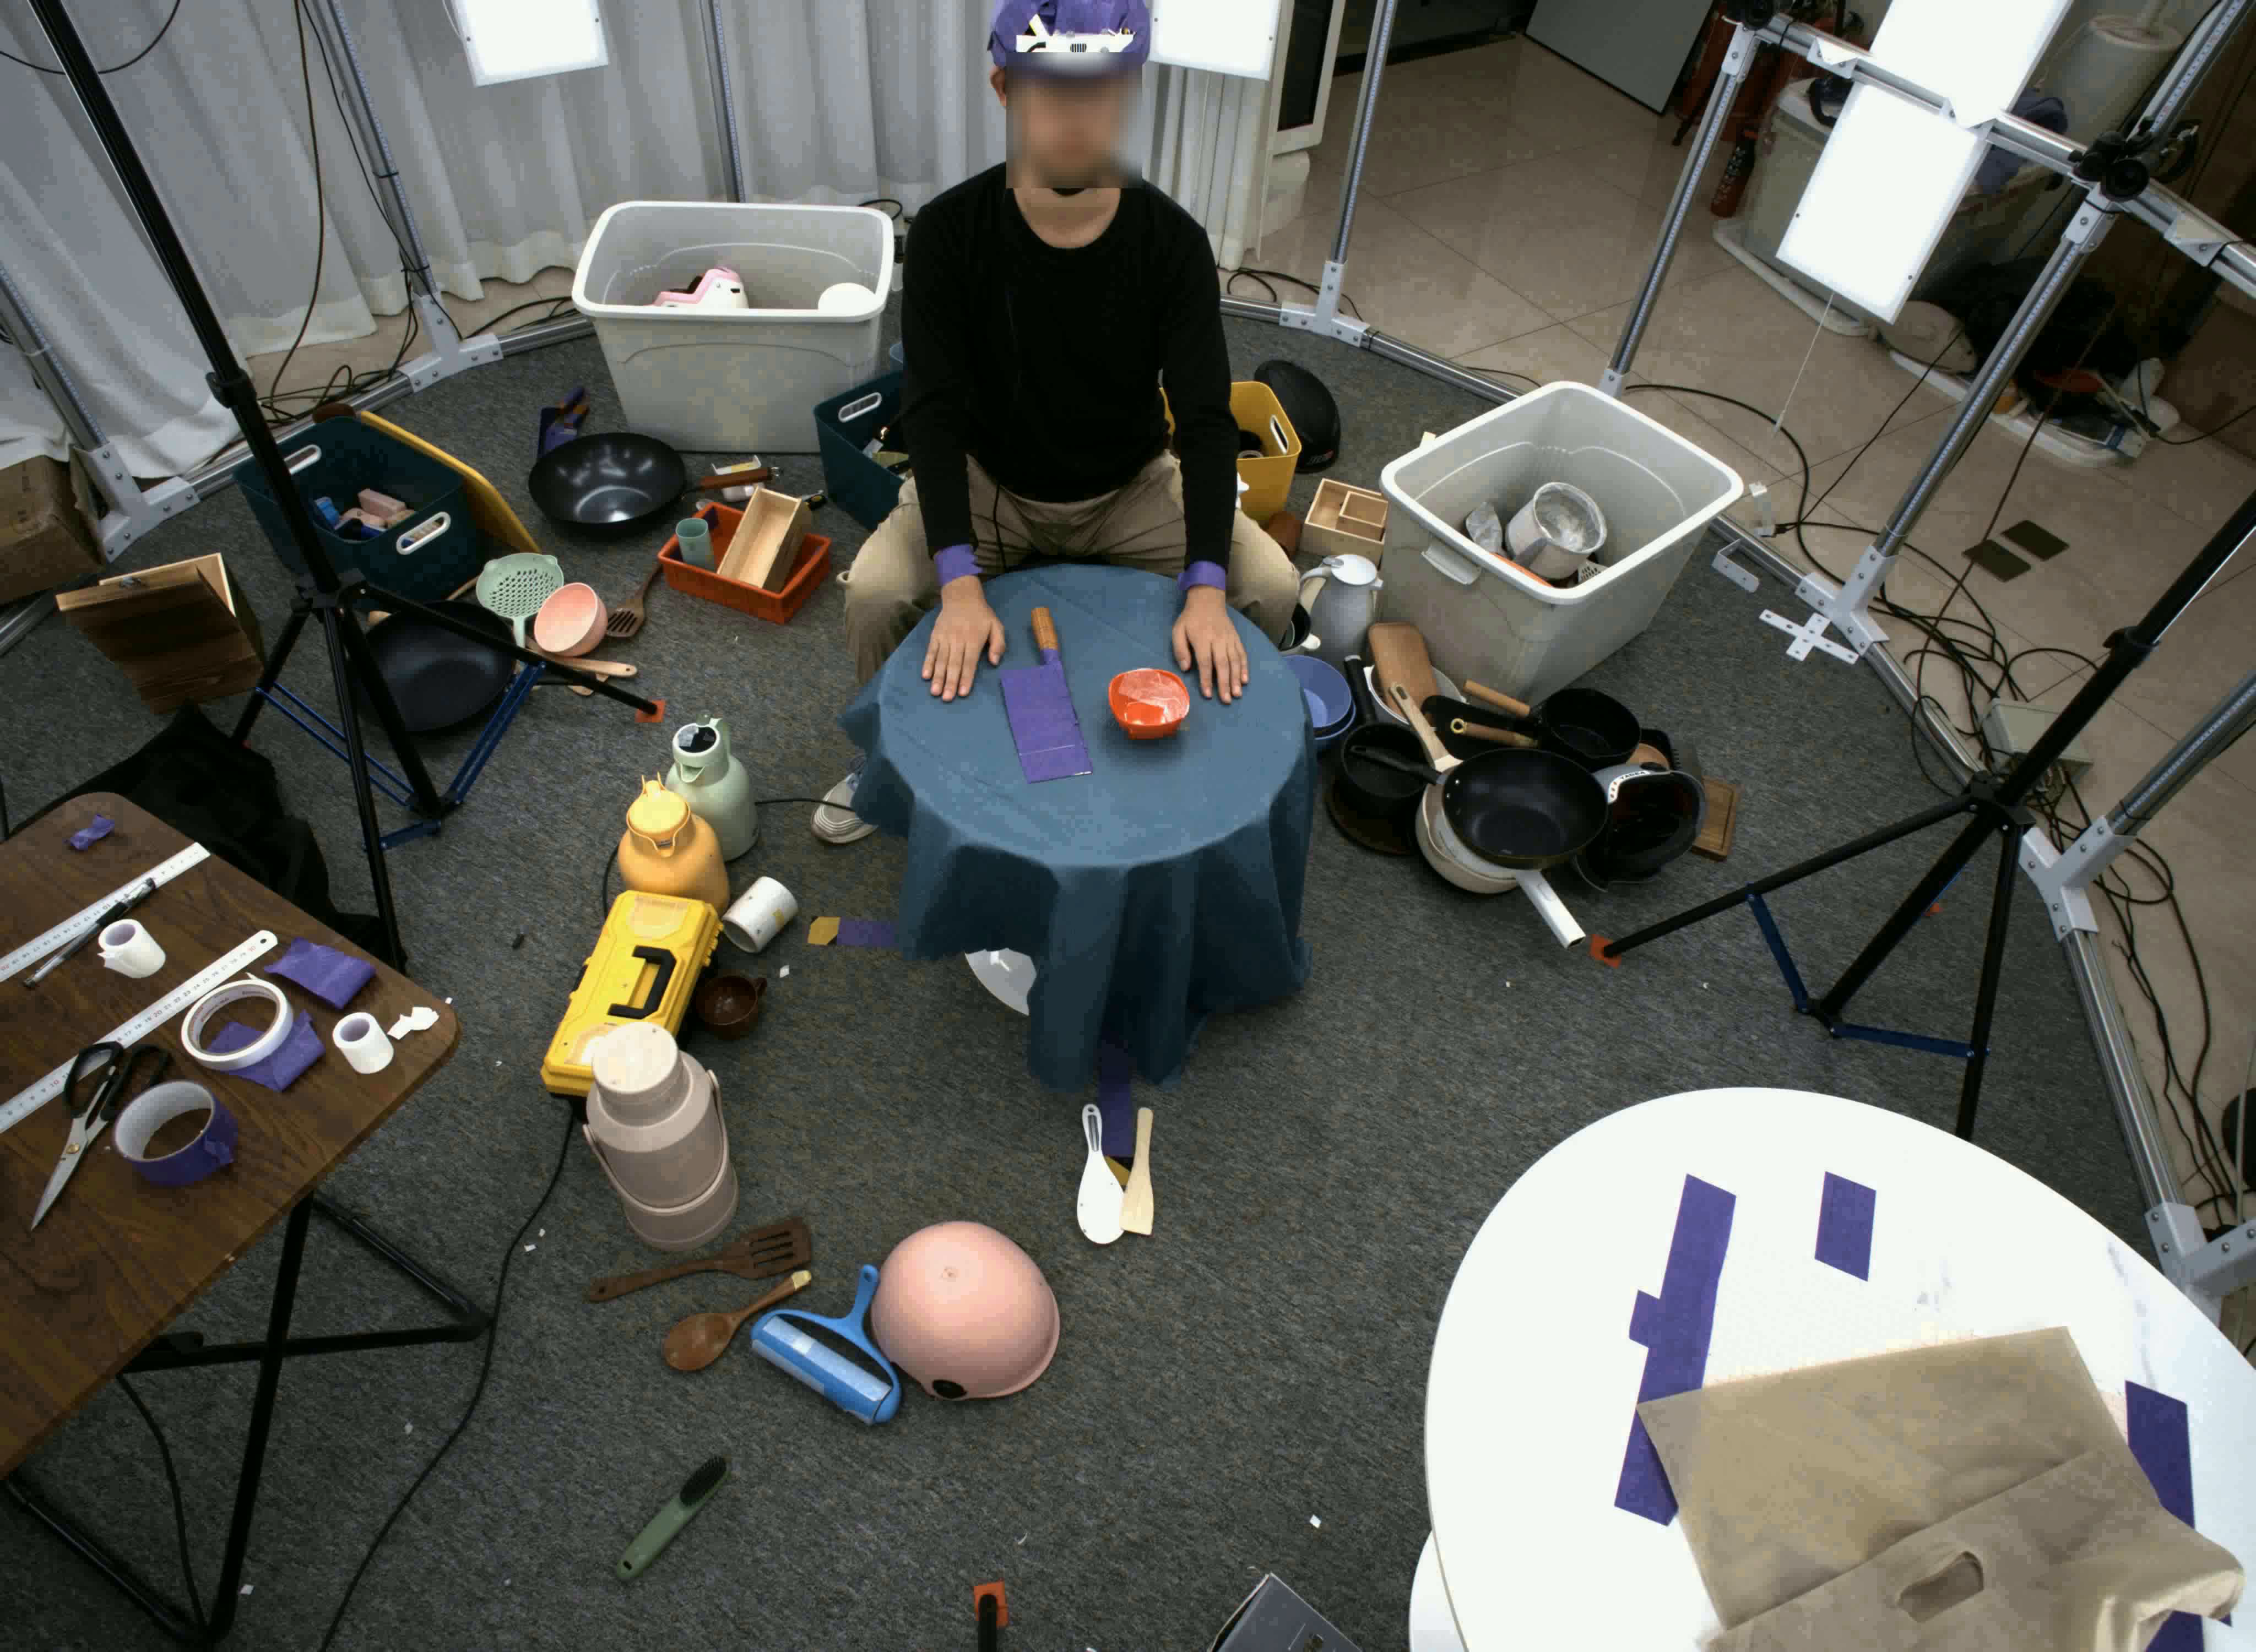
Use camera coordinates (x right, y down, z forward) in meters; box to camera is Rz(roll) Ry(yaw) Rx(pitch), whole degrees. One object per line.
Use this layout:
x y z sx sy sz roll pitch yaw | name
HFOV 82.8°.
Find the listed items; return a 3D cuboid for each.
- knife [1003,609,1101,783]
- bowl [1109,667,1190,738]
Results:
-0.124 -0.189 1.808 0.104 0.031 0.323 -9 51 -11 | knife
0.028 -0.164 1.777 0.119 0.050 0.122 1 52 -2 | bowl
